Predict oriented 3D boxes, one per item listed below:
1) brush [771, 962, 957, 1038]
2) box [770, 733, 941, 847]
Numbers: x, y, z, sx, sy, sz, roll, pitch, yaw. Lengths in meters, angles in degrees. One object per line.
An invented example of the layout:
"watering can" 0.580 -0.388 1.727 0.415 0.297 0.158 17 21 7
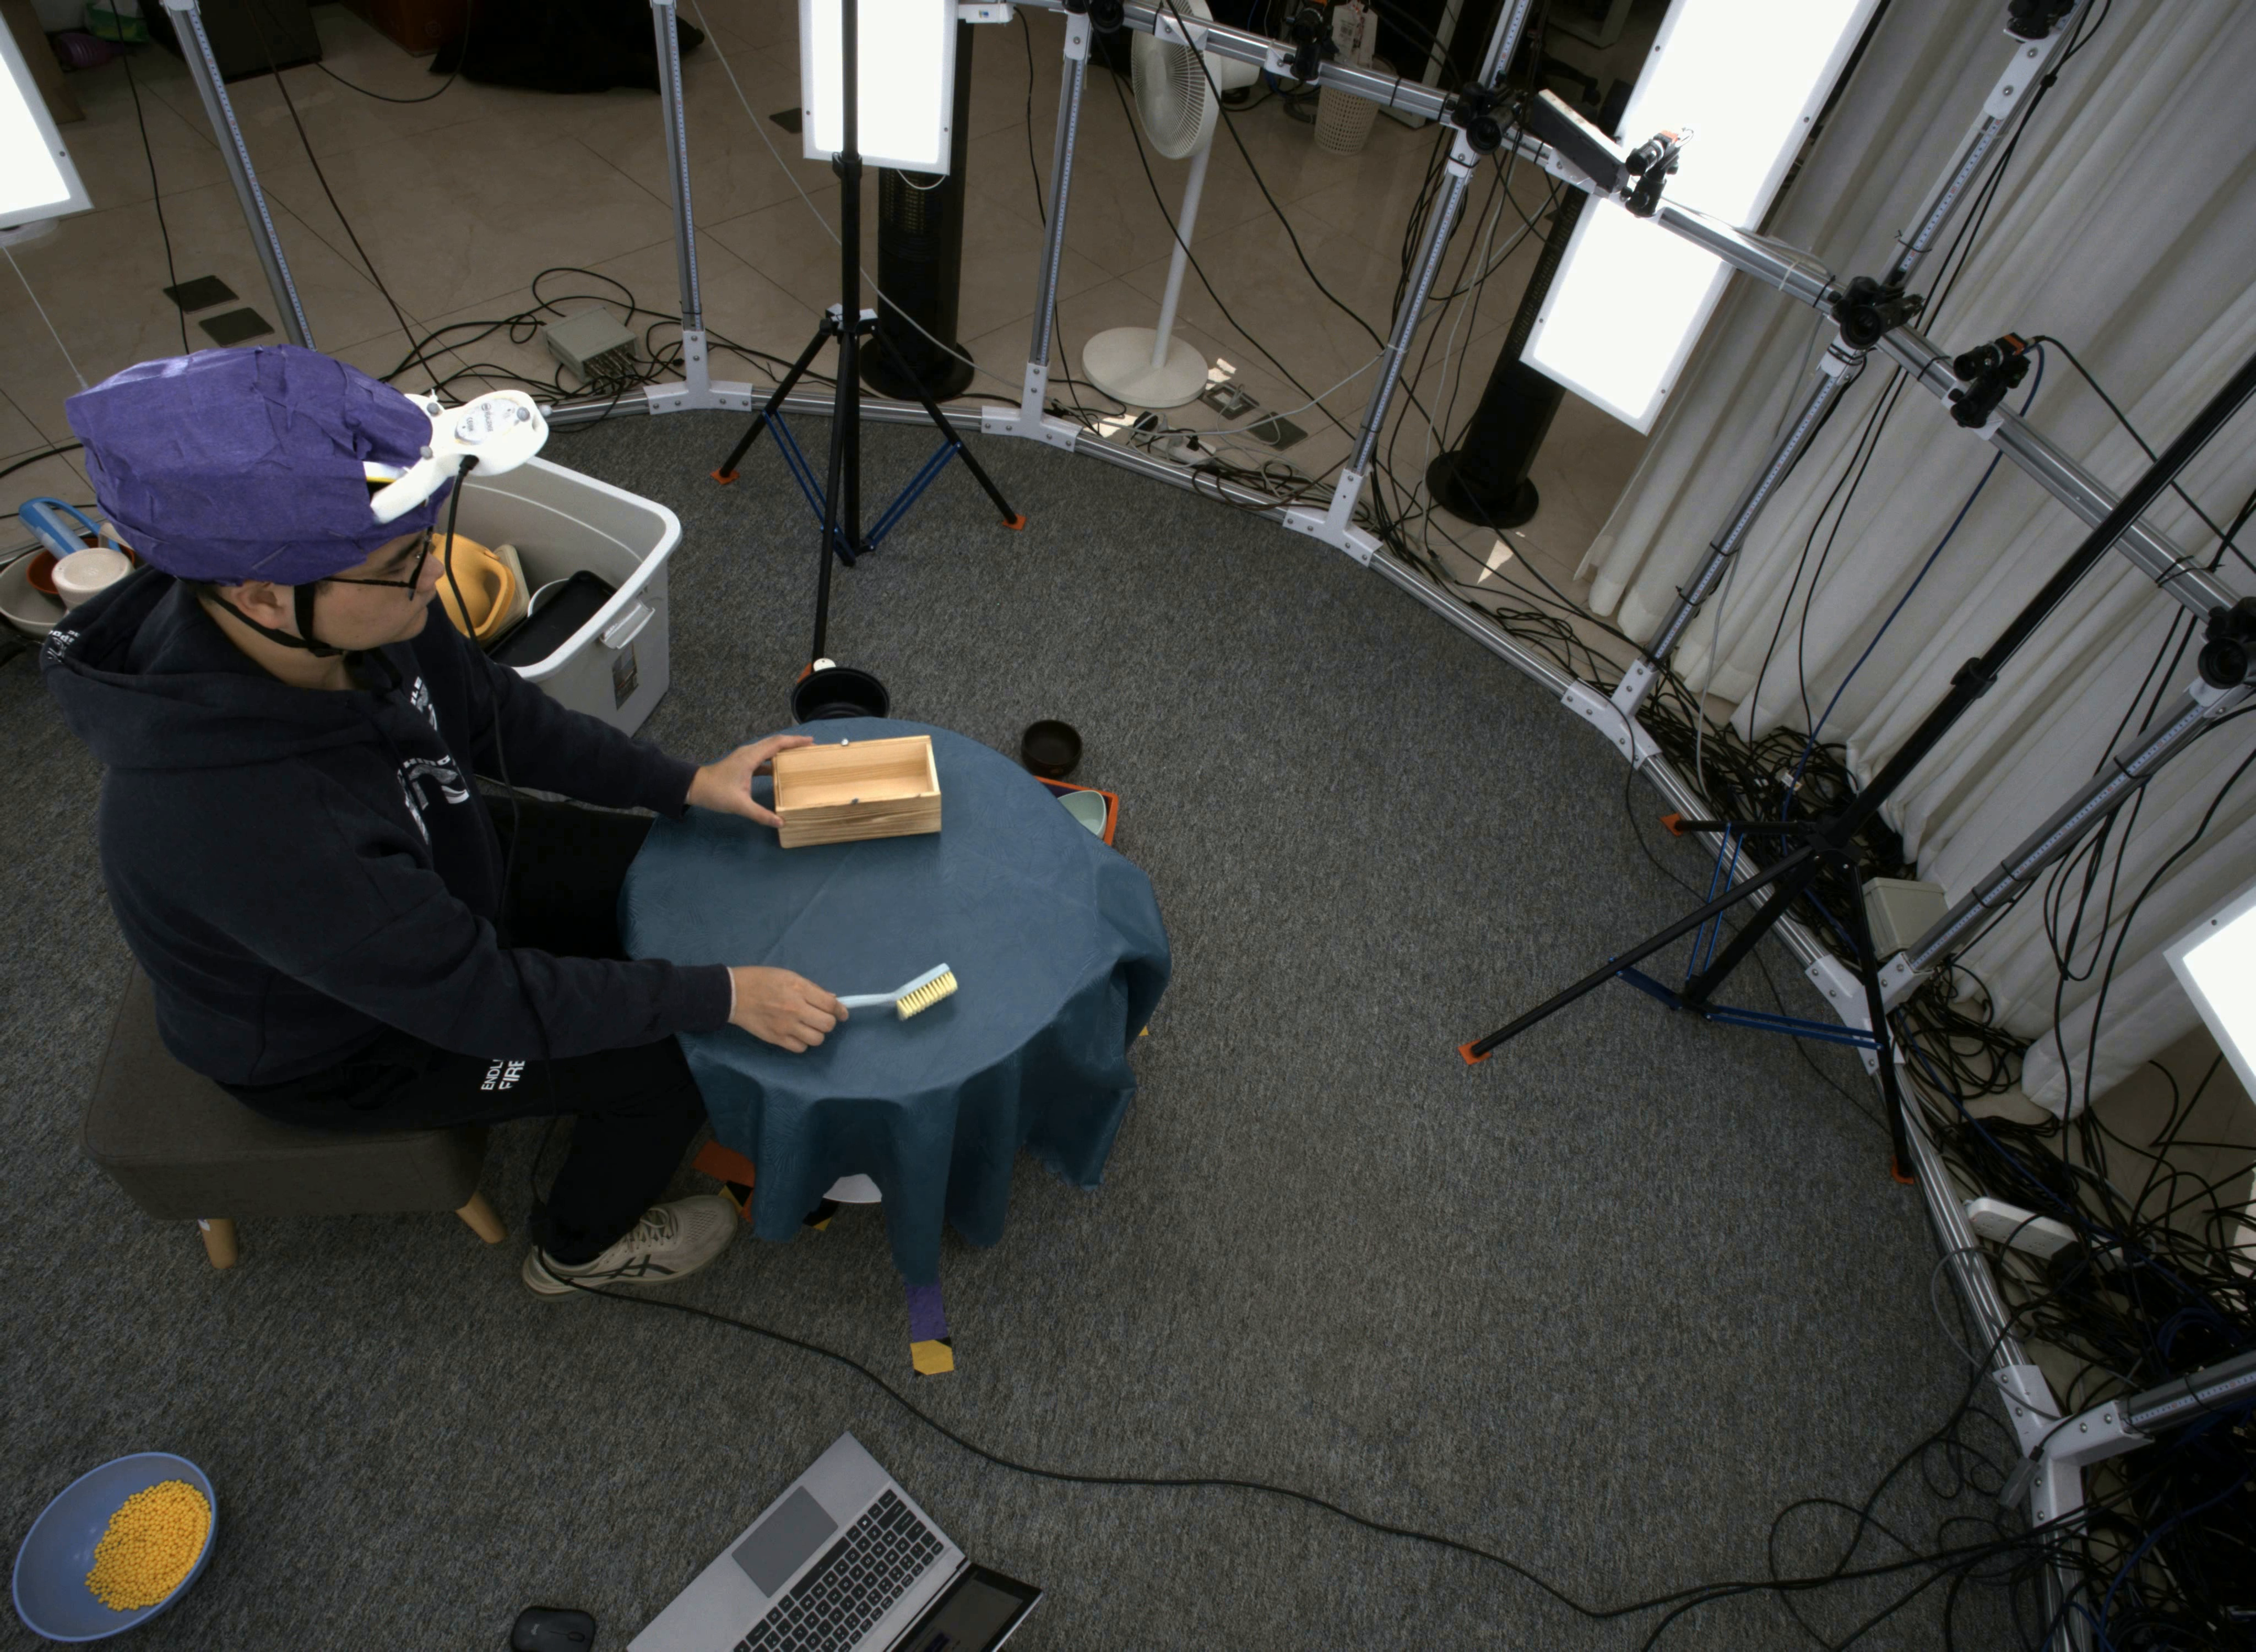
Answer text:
"brush" -0.313 0.216 1.550 0.229 0.038 0.049 -16 80 -21
"box" -0.359 -0.049 1.716 0.212 0.082 0.105 -7 54 -16
